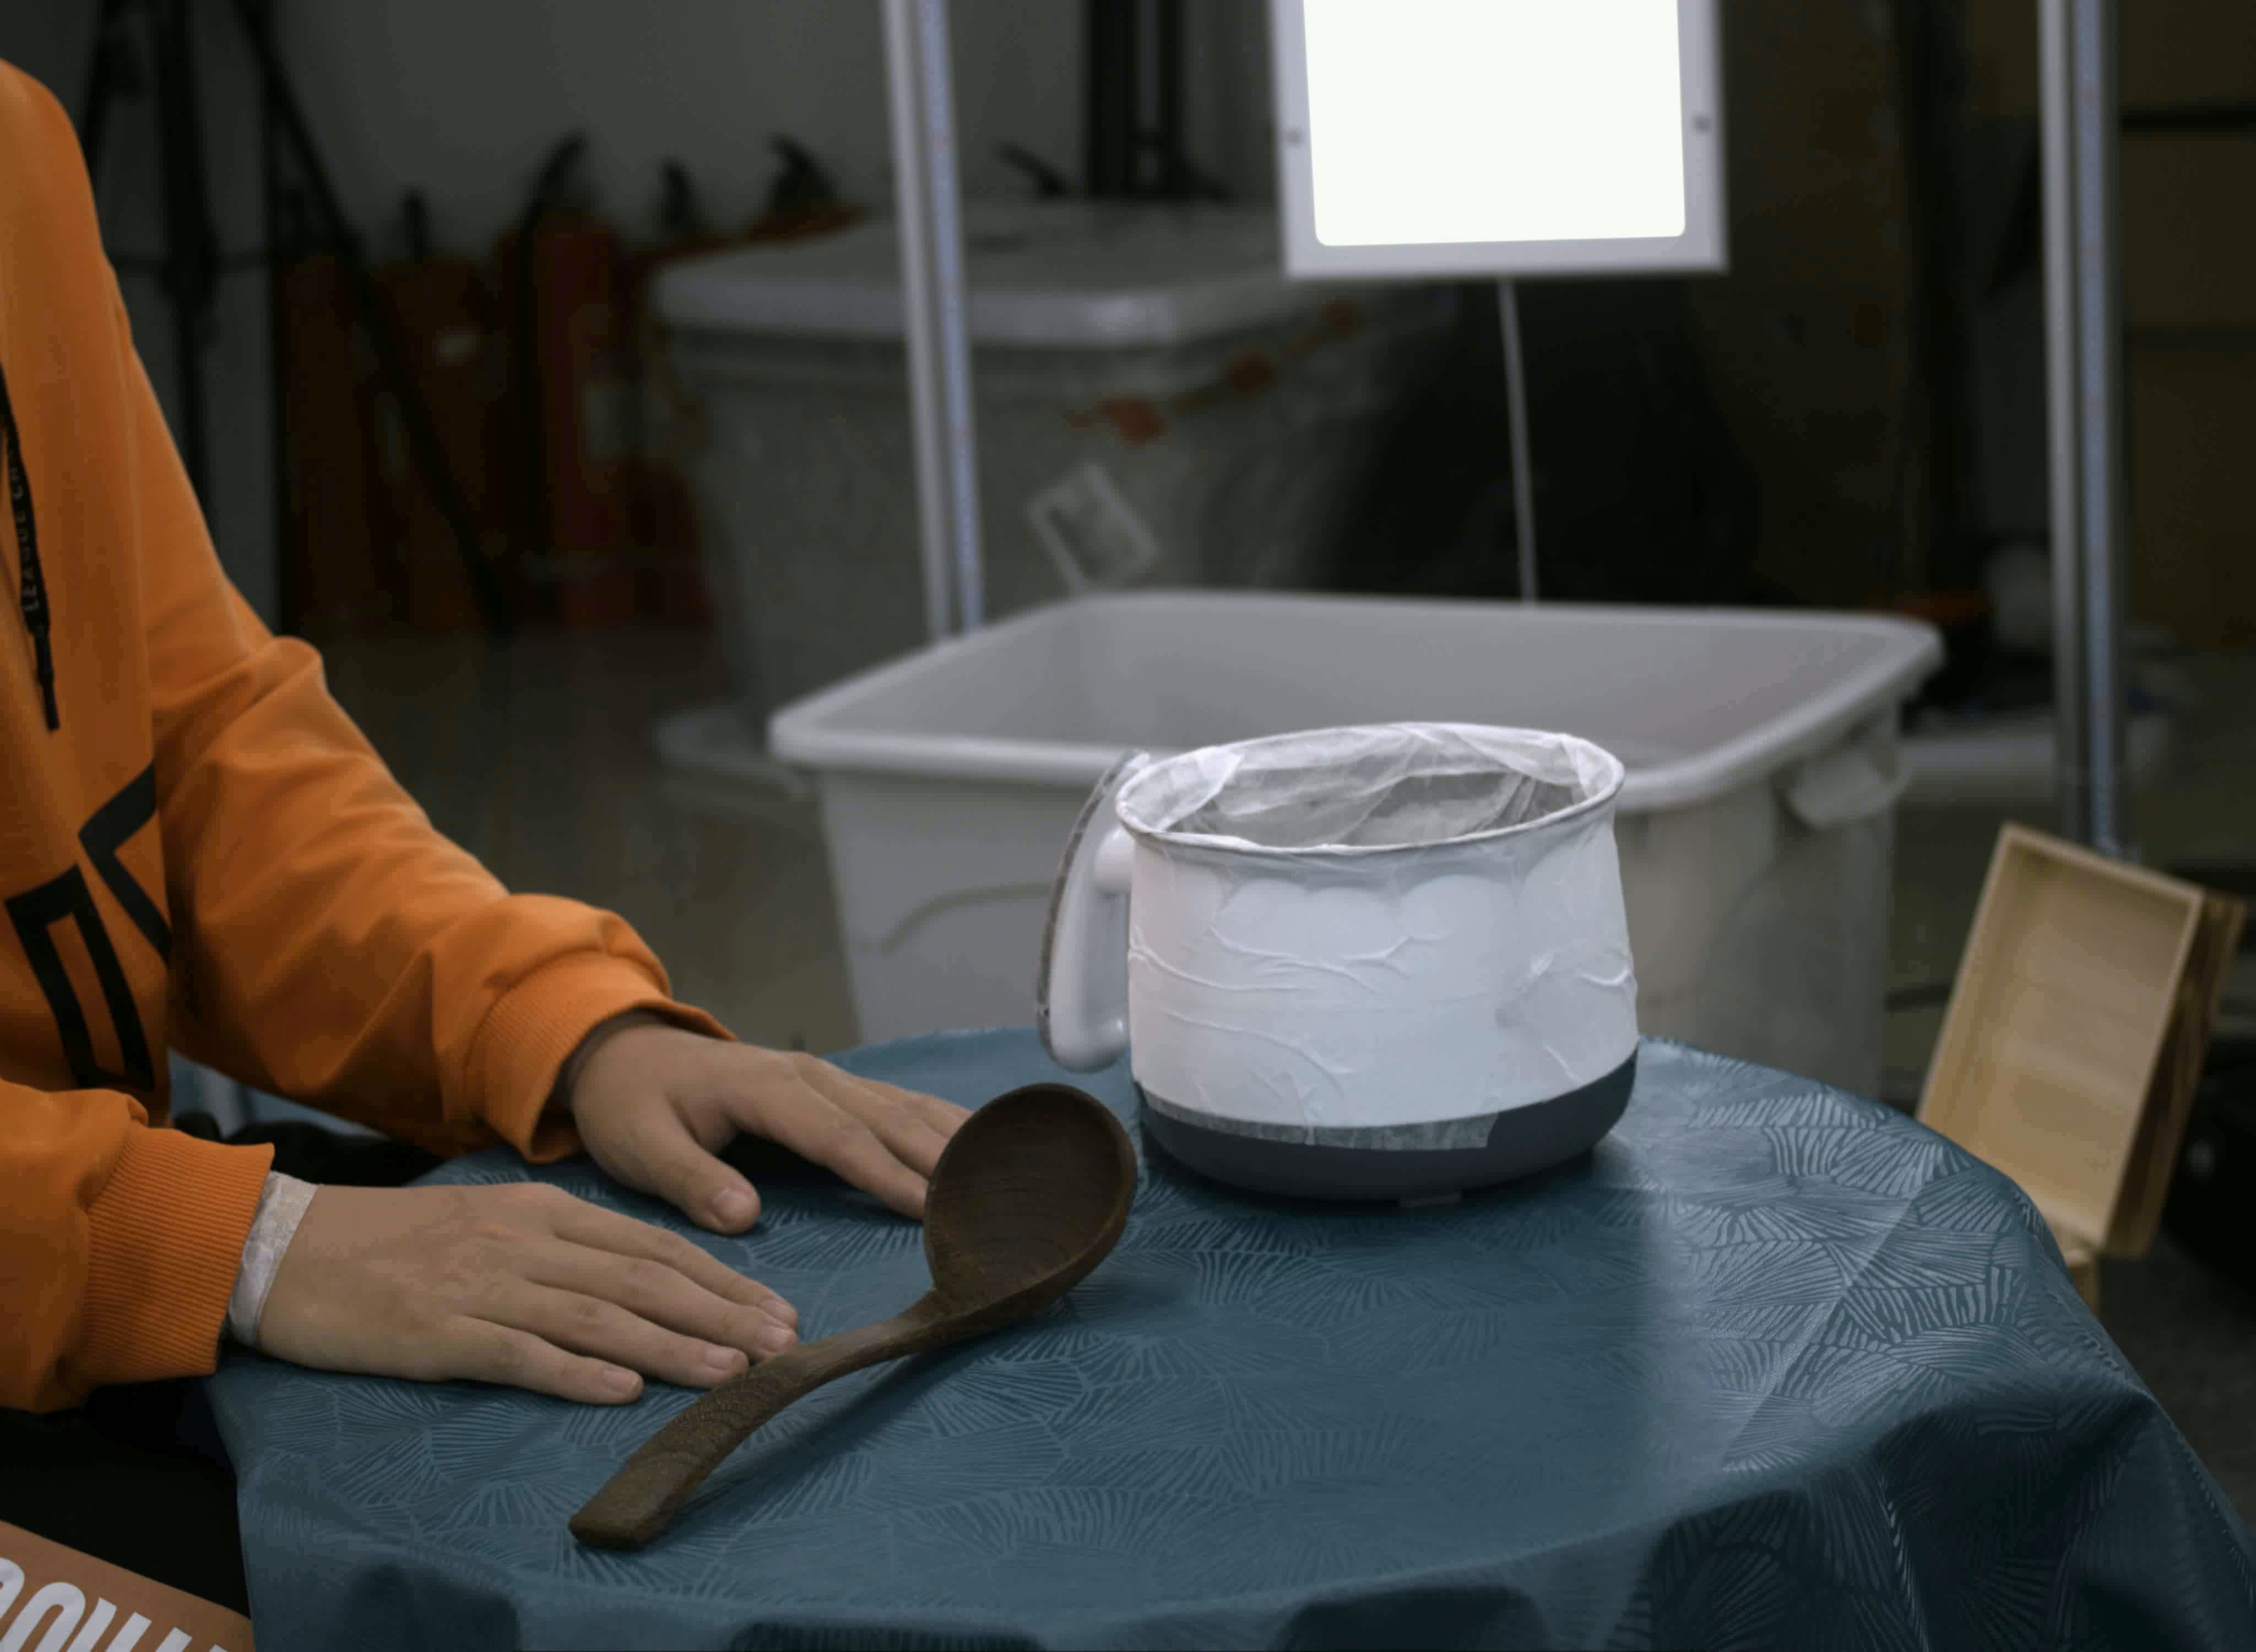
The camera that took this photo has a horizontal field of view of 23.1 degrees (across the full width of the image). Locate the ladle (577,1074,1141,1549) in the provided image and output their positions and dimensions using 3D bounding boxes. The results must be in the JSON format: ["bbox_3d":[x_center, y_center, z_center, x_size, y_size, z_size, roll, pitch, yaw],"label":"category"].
[{"bbox_3d":[-0.085,0.145,1.708,0.077,0.071,0.267,1,14,33],"label":"ladle"}]

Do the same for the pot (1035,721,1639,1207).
[{"bbox_3d":[0.065,0.044,1.919,0.238,0.137,0.174,6,17,36],"label":"pot"}]
